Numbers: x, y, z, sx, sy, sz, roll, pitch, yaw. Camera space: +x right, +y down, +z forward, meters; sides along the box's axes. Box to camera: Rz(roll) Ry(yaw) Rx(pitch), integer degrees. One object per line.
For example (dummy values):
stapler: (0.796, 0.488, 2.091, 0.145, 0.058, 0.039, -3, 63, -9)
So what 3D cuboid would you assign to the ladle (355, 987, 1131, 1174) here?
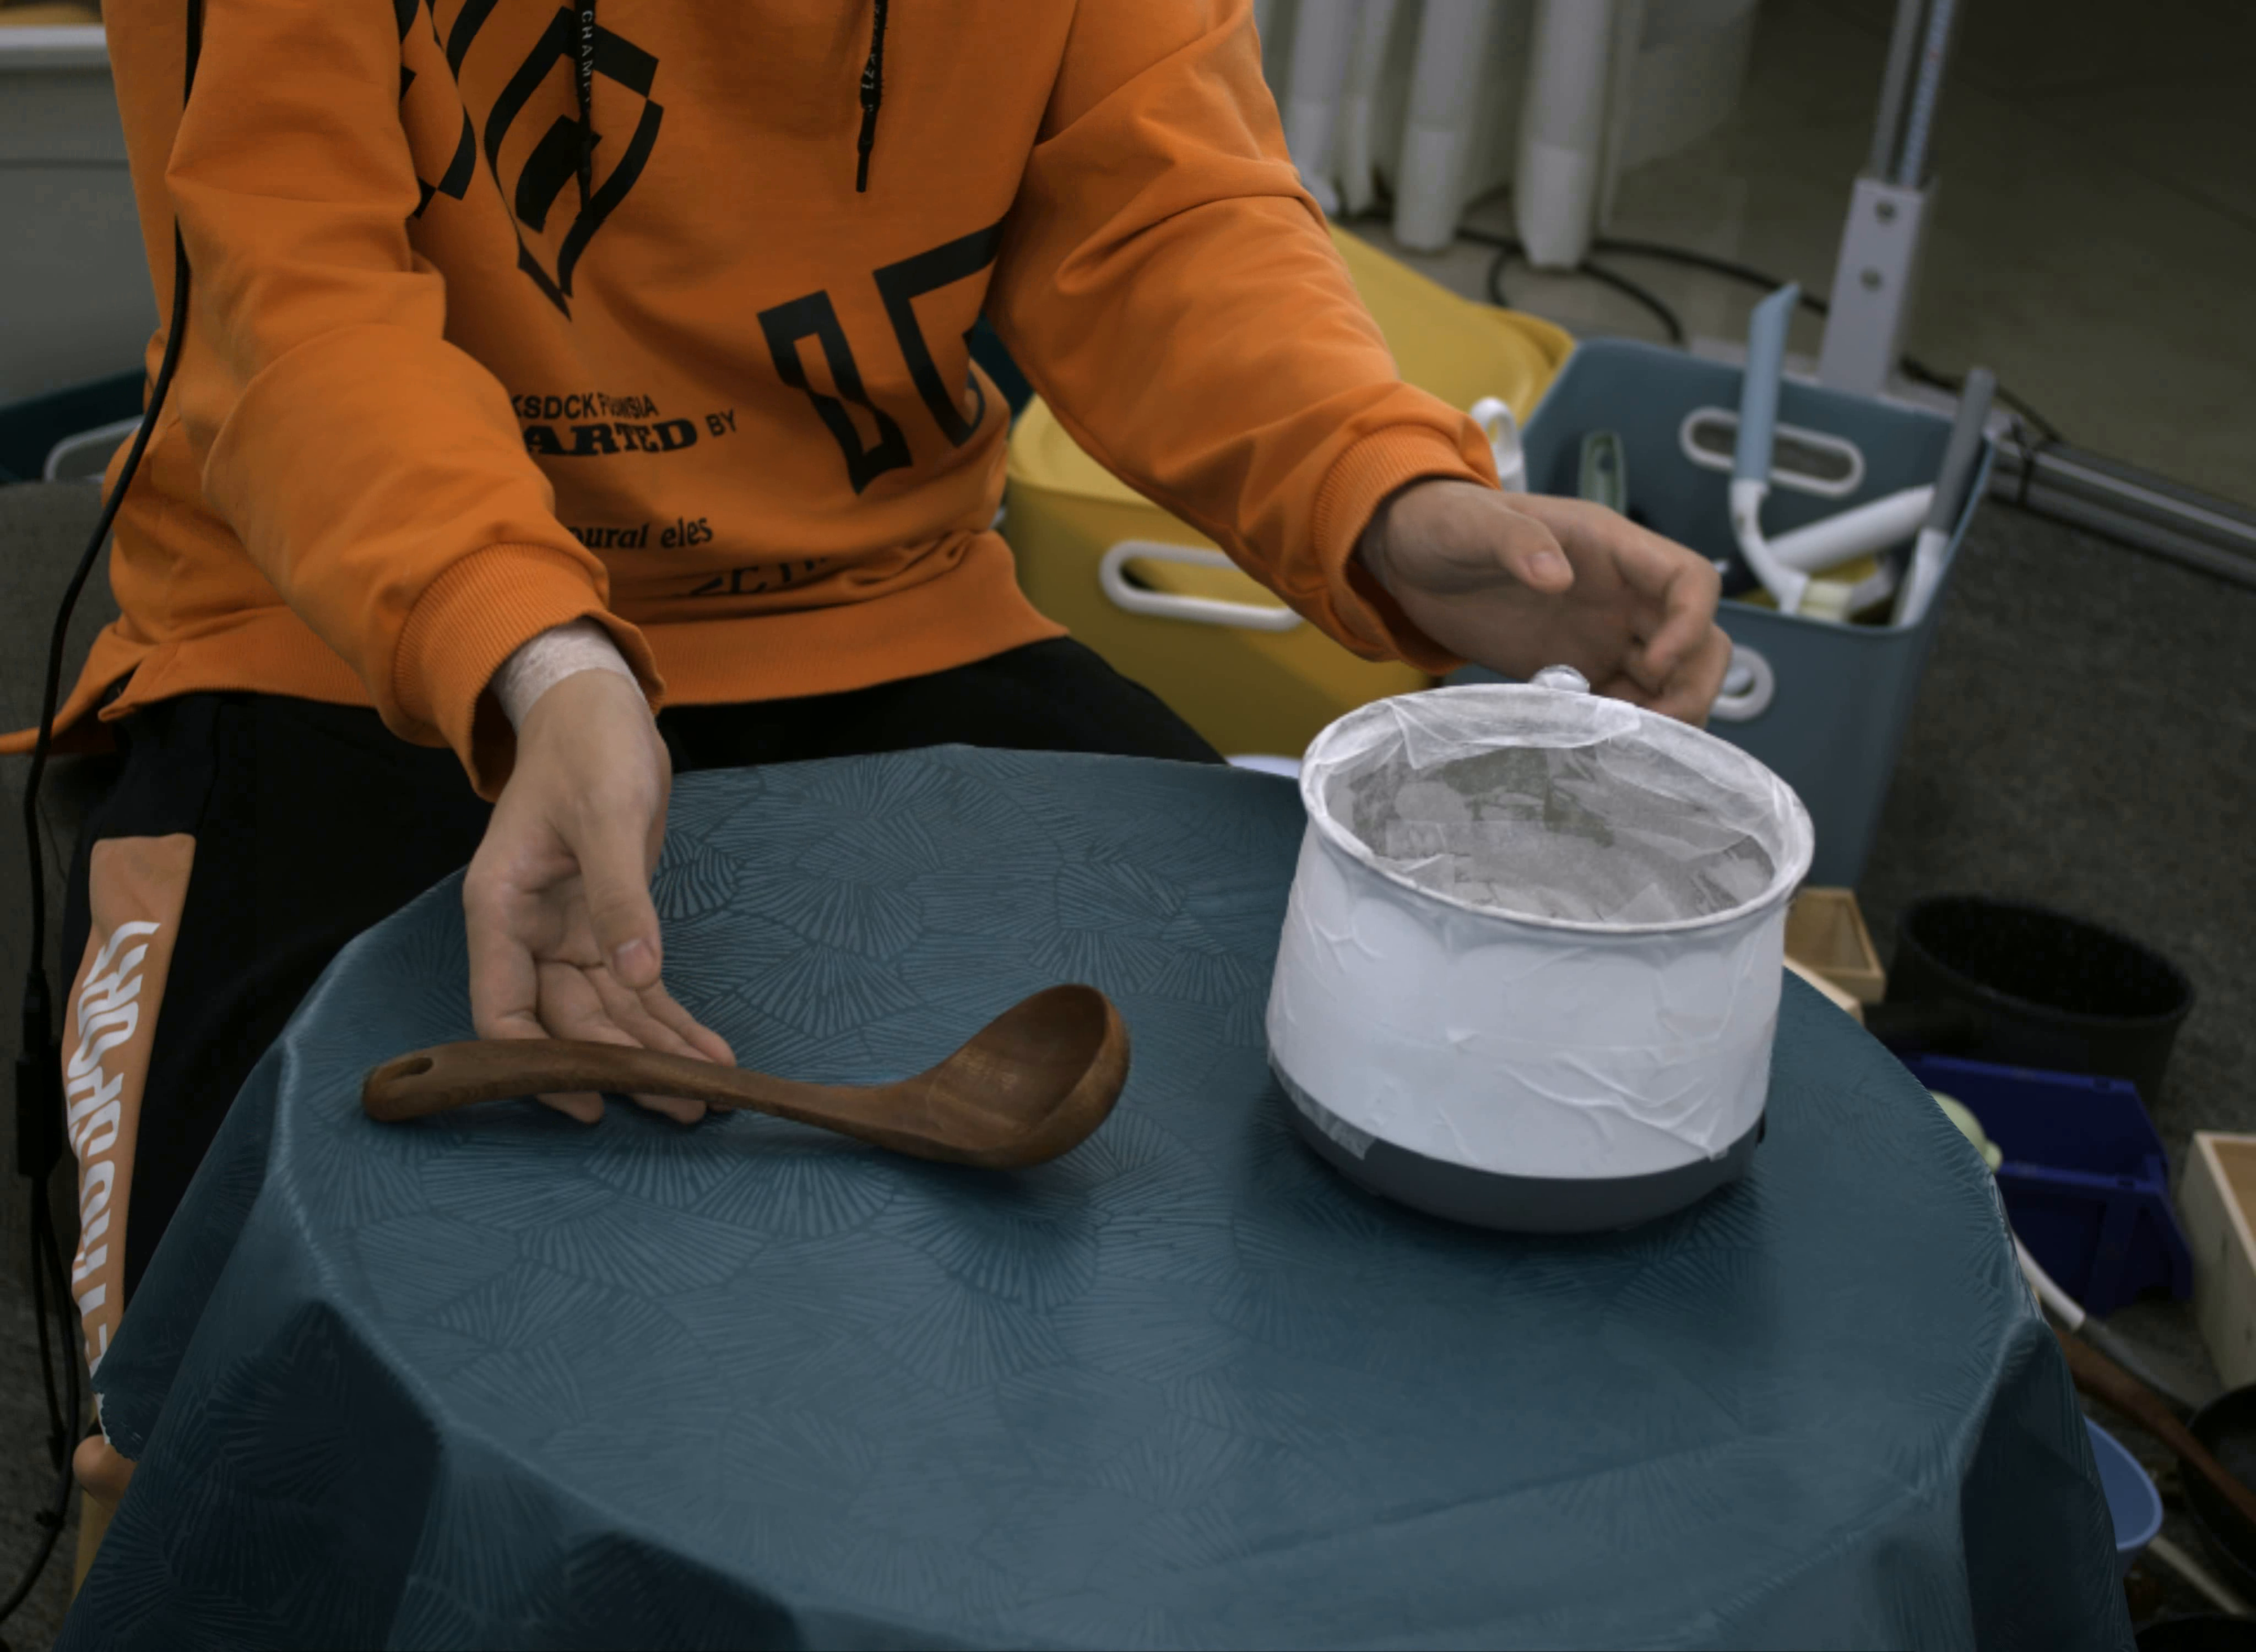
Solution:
ladle: (-0.129, 0.079, 1.791, 0.259, 0.065, 0.077, 5, 28, -4)

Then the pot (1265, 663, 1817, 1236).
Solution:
pot: (0.140, 0.035, 1.856, 0.178, 0.136, 0.235, 8, 27, 0)
